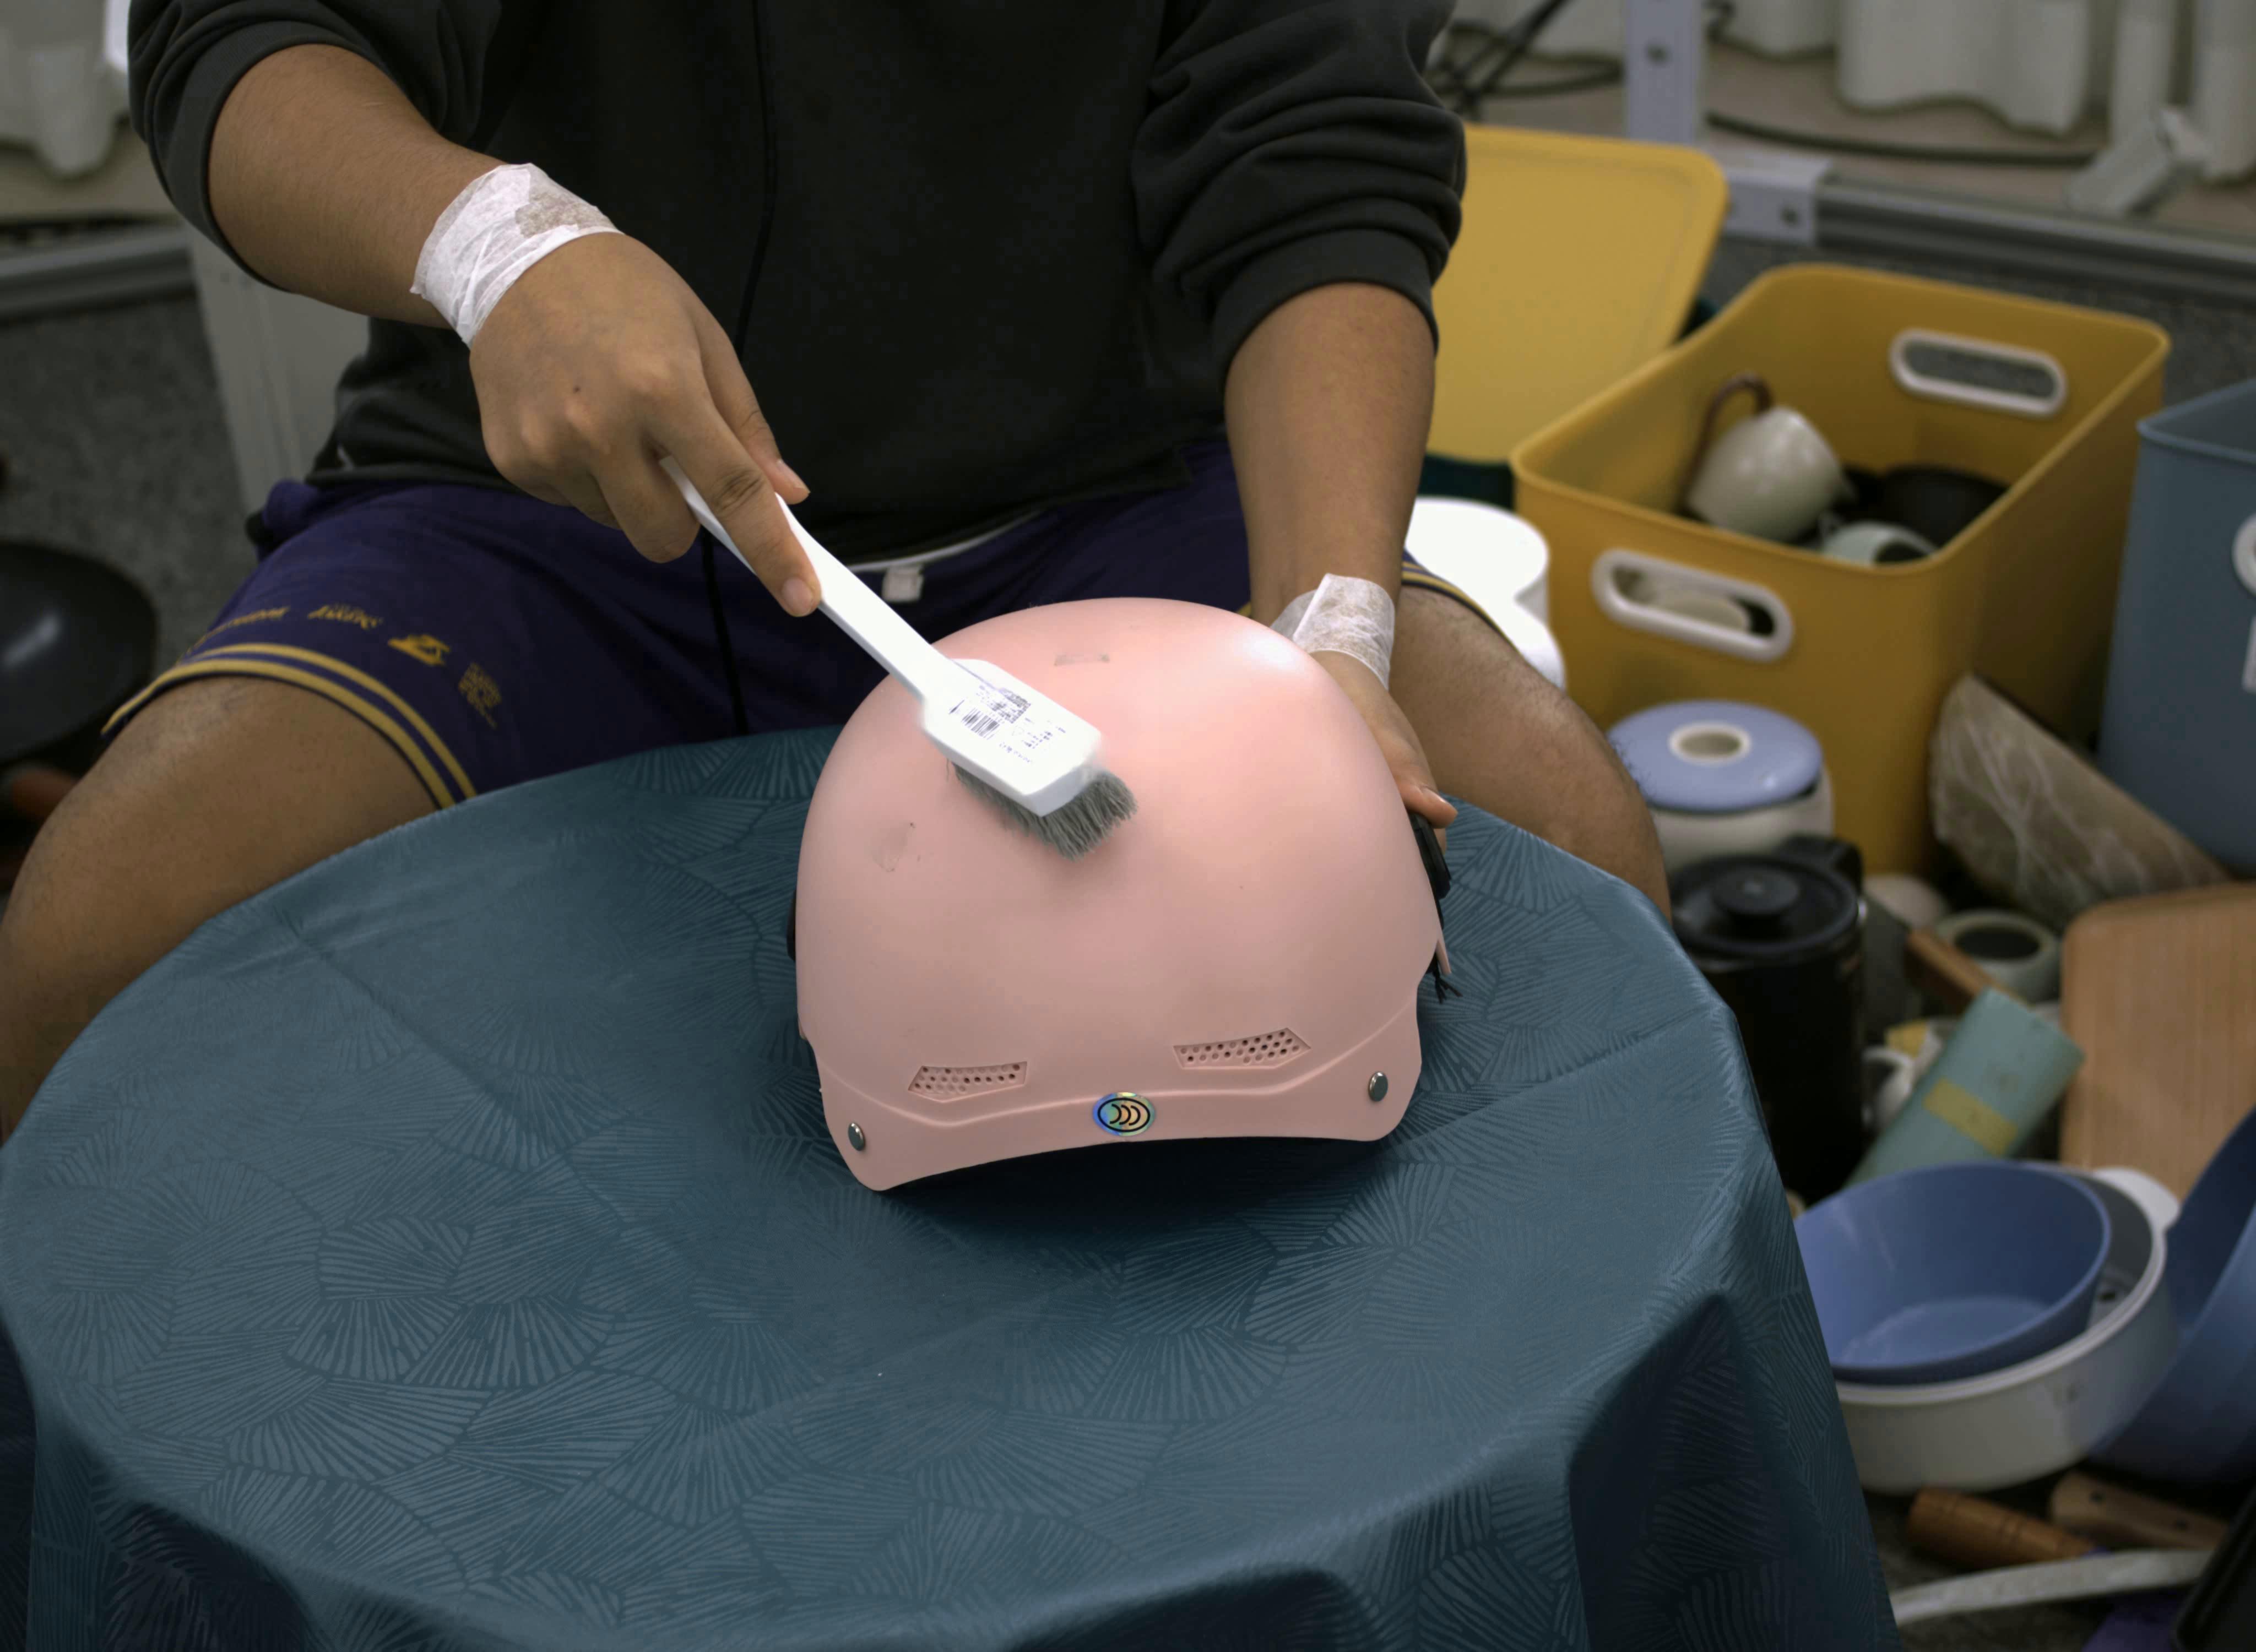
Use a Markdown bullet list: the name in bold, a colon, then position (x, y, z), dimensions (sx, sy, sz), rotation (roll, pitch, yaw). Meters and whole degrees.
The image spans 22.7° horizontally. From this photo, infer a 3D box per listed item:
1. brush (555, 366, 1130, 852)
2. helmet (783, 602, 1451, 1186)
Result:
- **brush**: position (-0.095, -0.071, 1.830), dimensions (0.244, 0.049, 0.035), rotation (37, 71, 25)
- **helmet**: position (-0.010, 0.003, 1.917), dimensions (0.233, 0.157, 0.269), rotation (-7, 23, 3)
